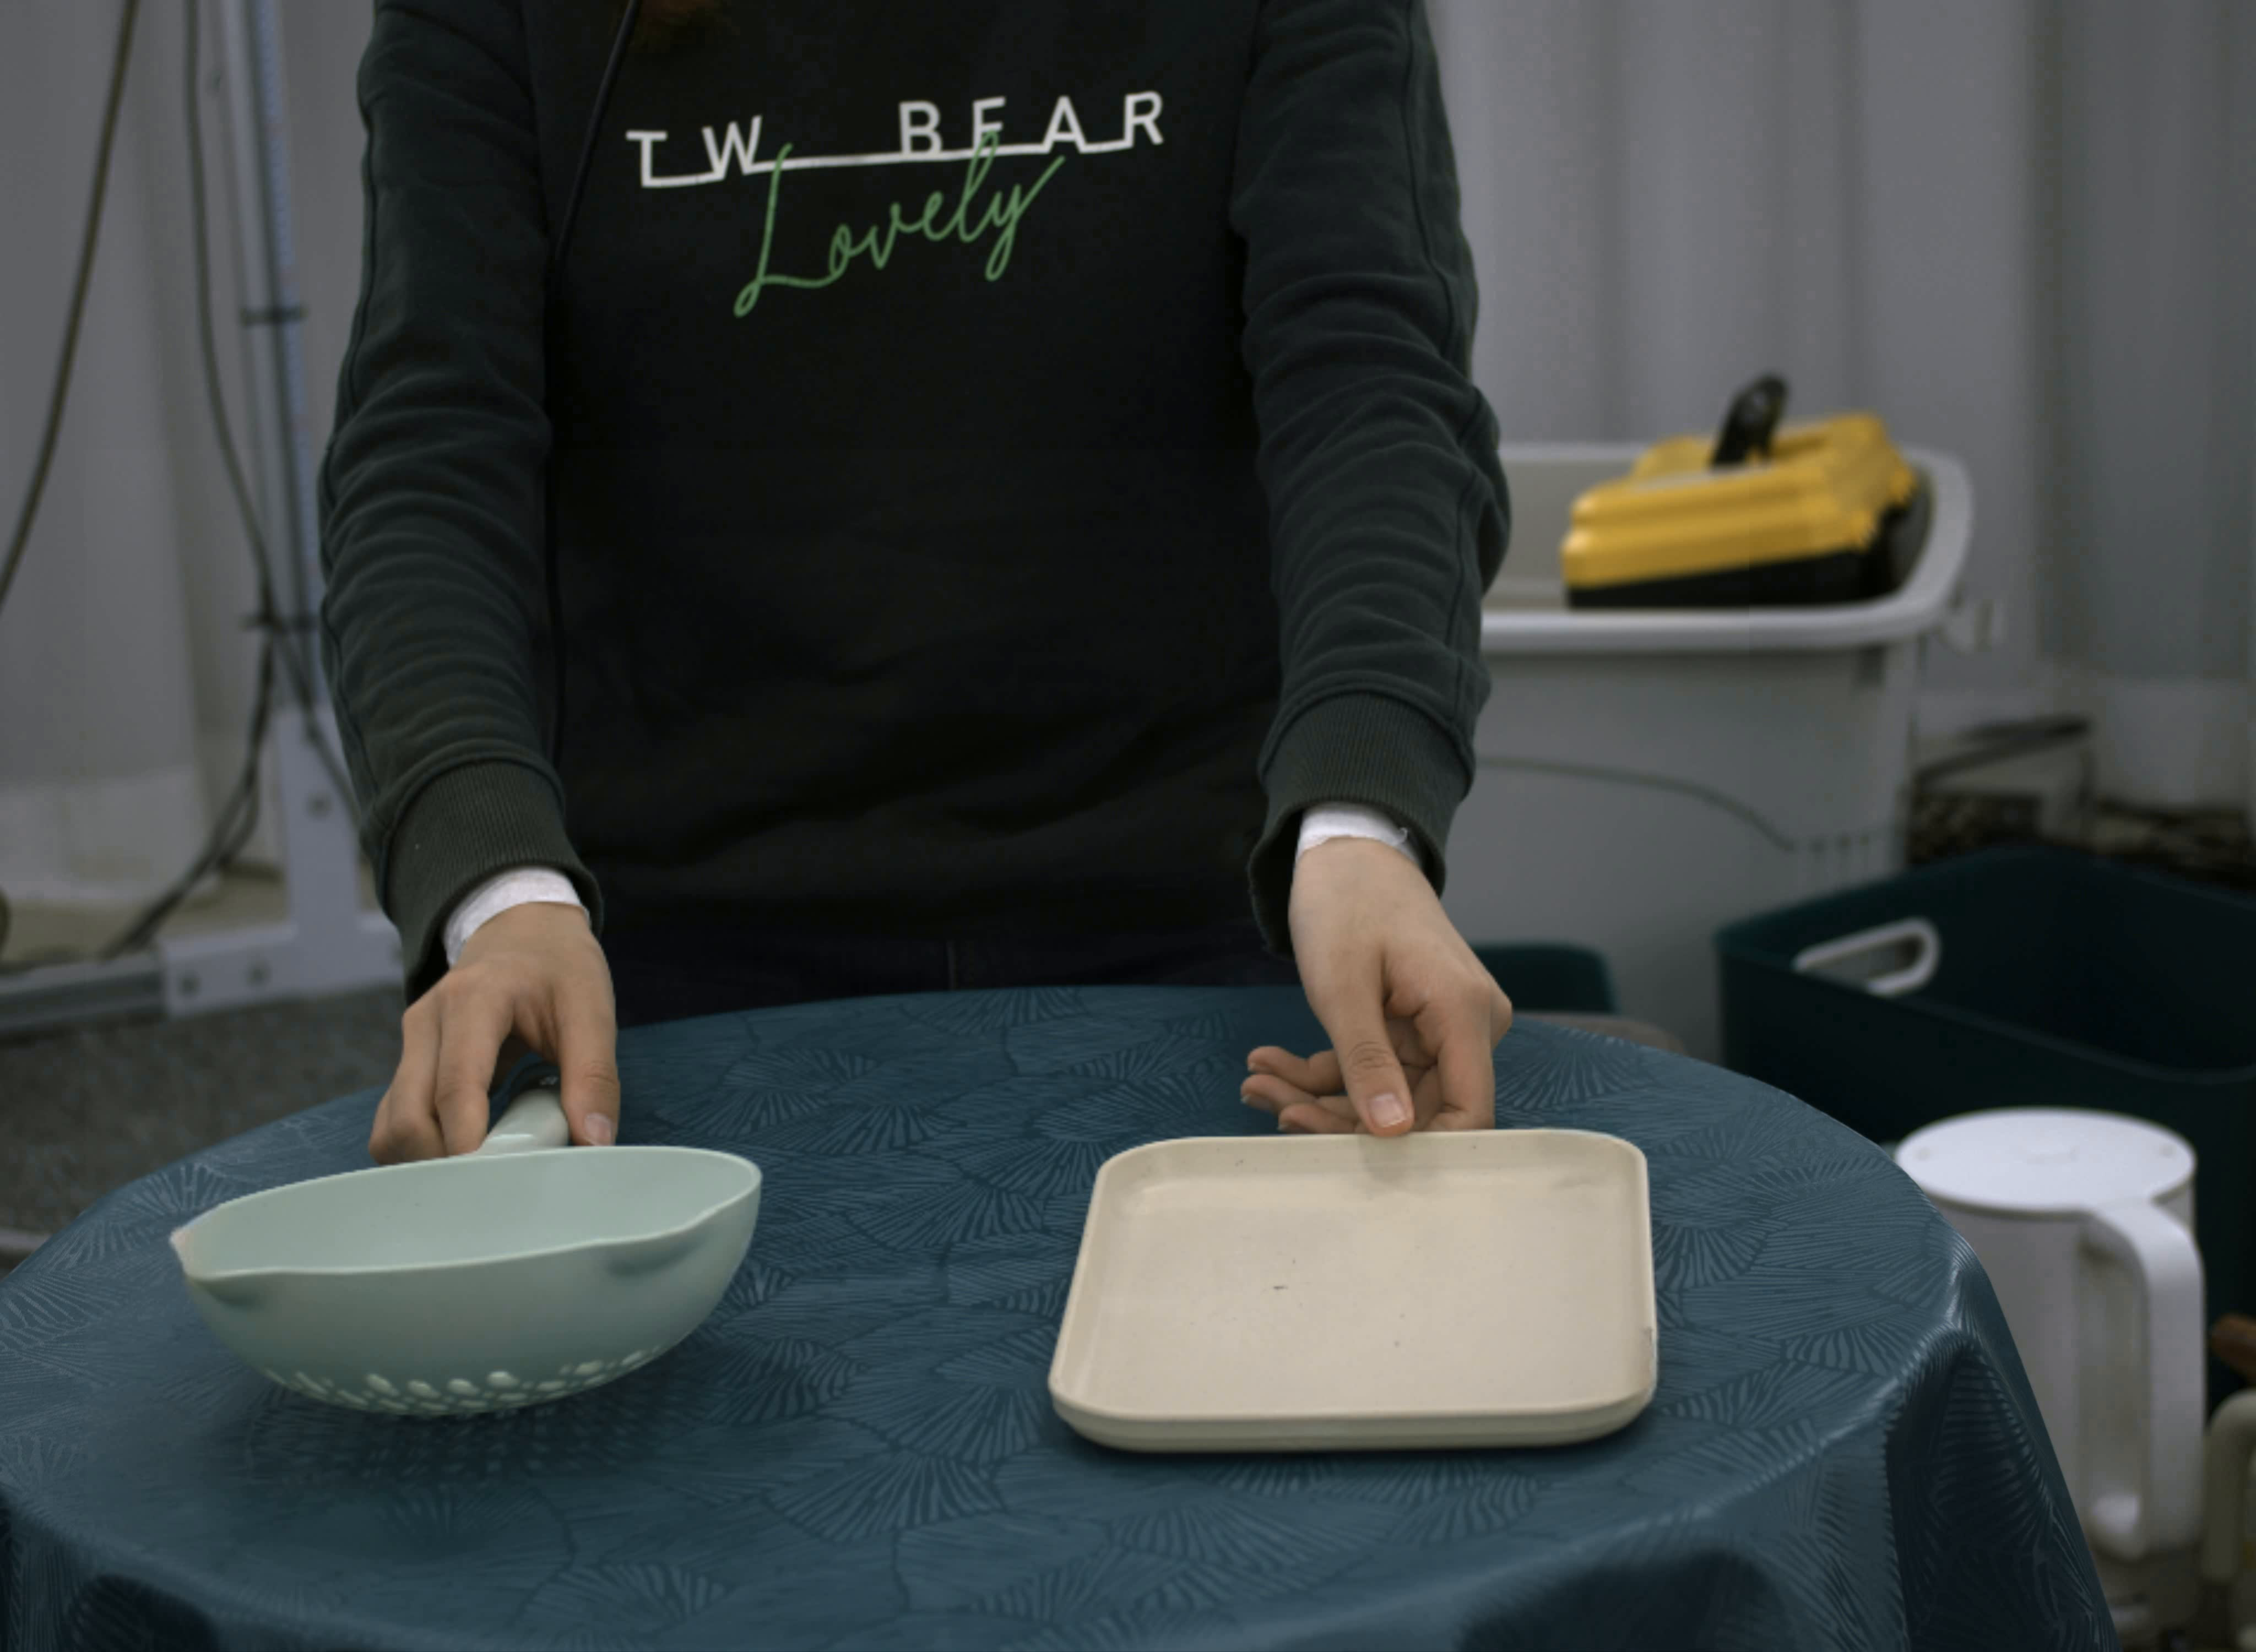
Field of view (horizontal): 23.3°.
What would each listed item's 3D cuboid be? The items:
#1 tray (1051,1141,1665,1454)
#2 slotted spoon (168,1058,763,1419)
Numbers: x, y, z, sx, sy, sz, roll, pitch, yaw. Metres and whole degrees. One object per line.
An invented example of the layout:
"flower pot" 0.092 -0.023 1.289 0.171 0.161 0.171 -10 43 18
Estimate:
"tray" 0.068 0.136 1.590 0.171 0.017 0.241 -1 14 4
"slotted spoon" -0.185 0.108 1.650 0.169 0.075 0.361 -4 15 1
